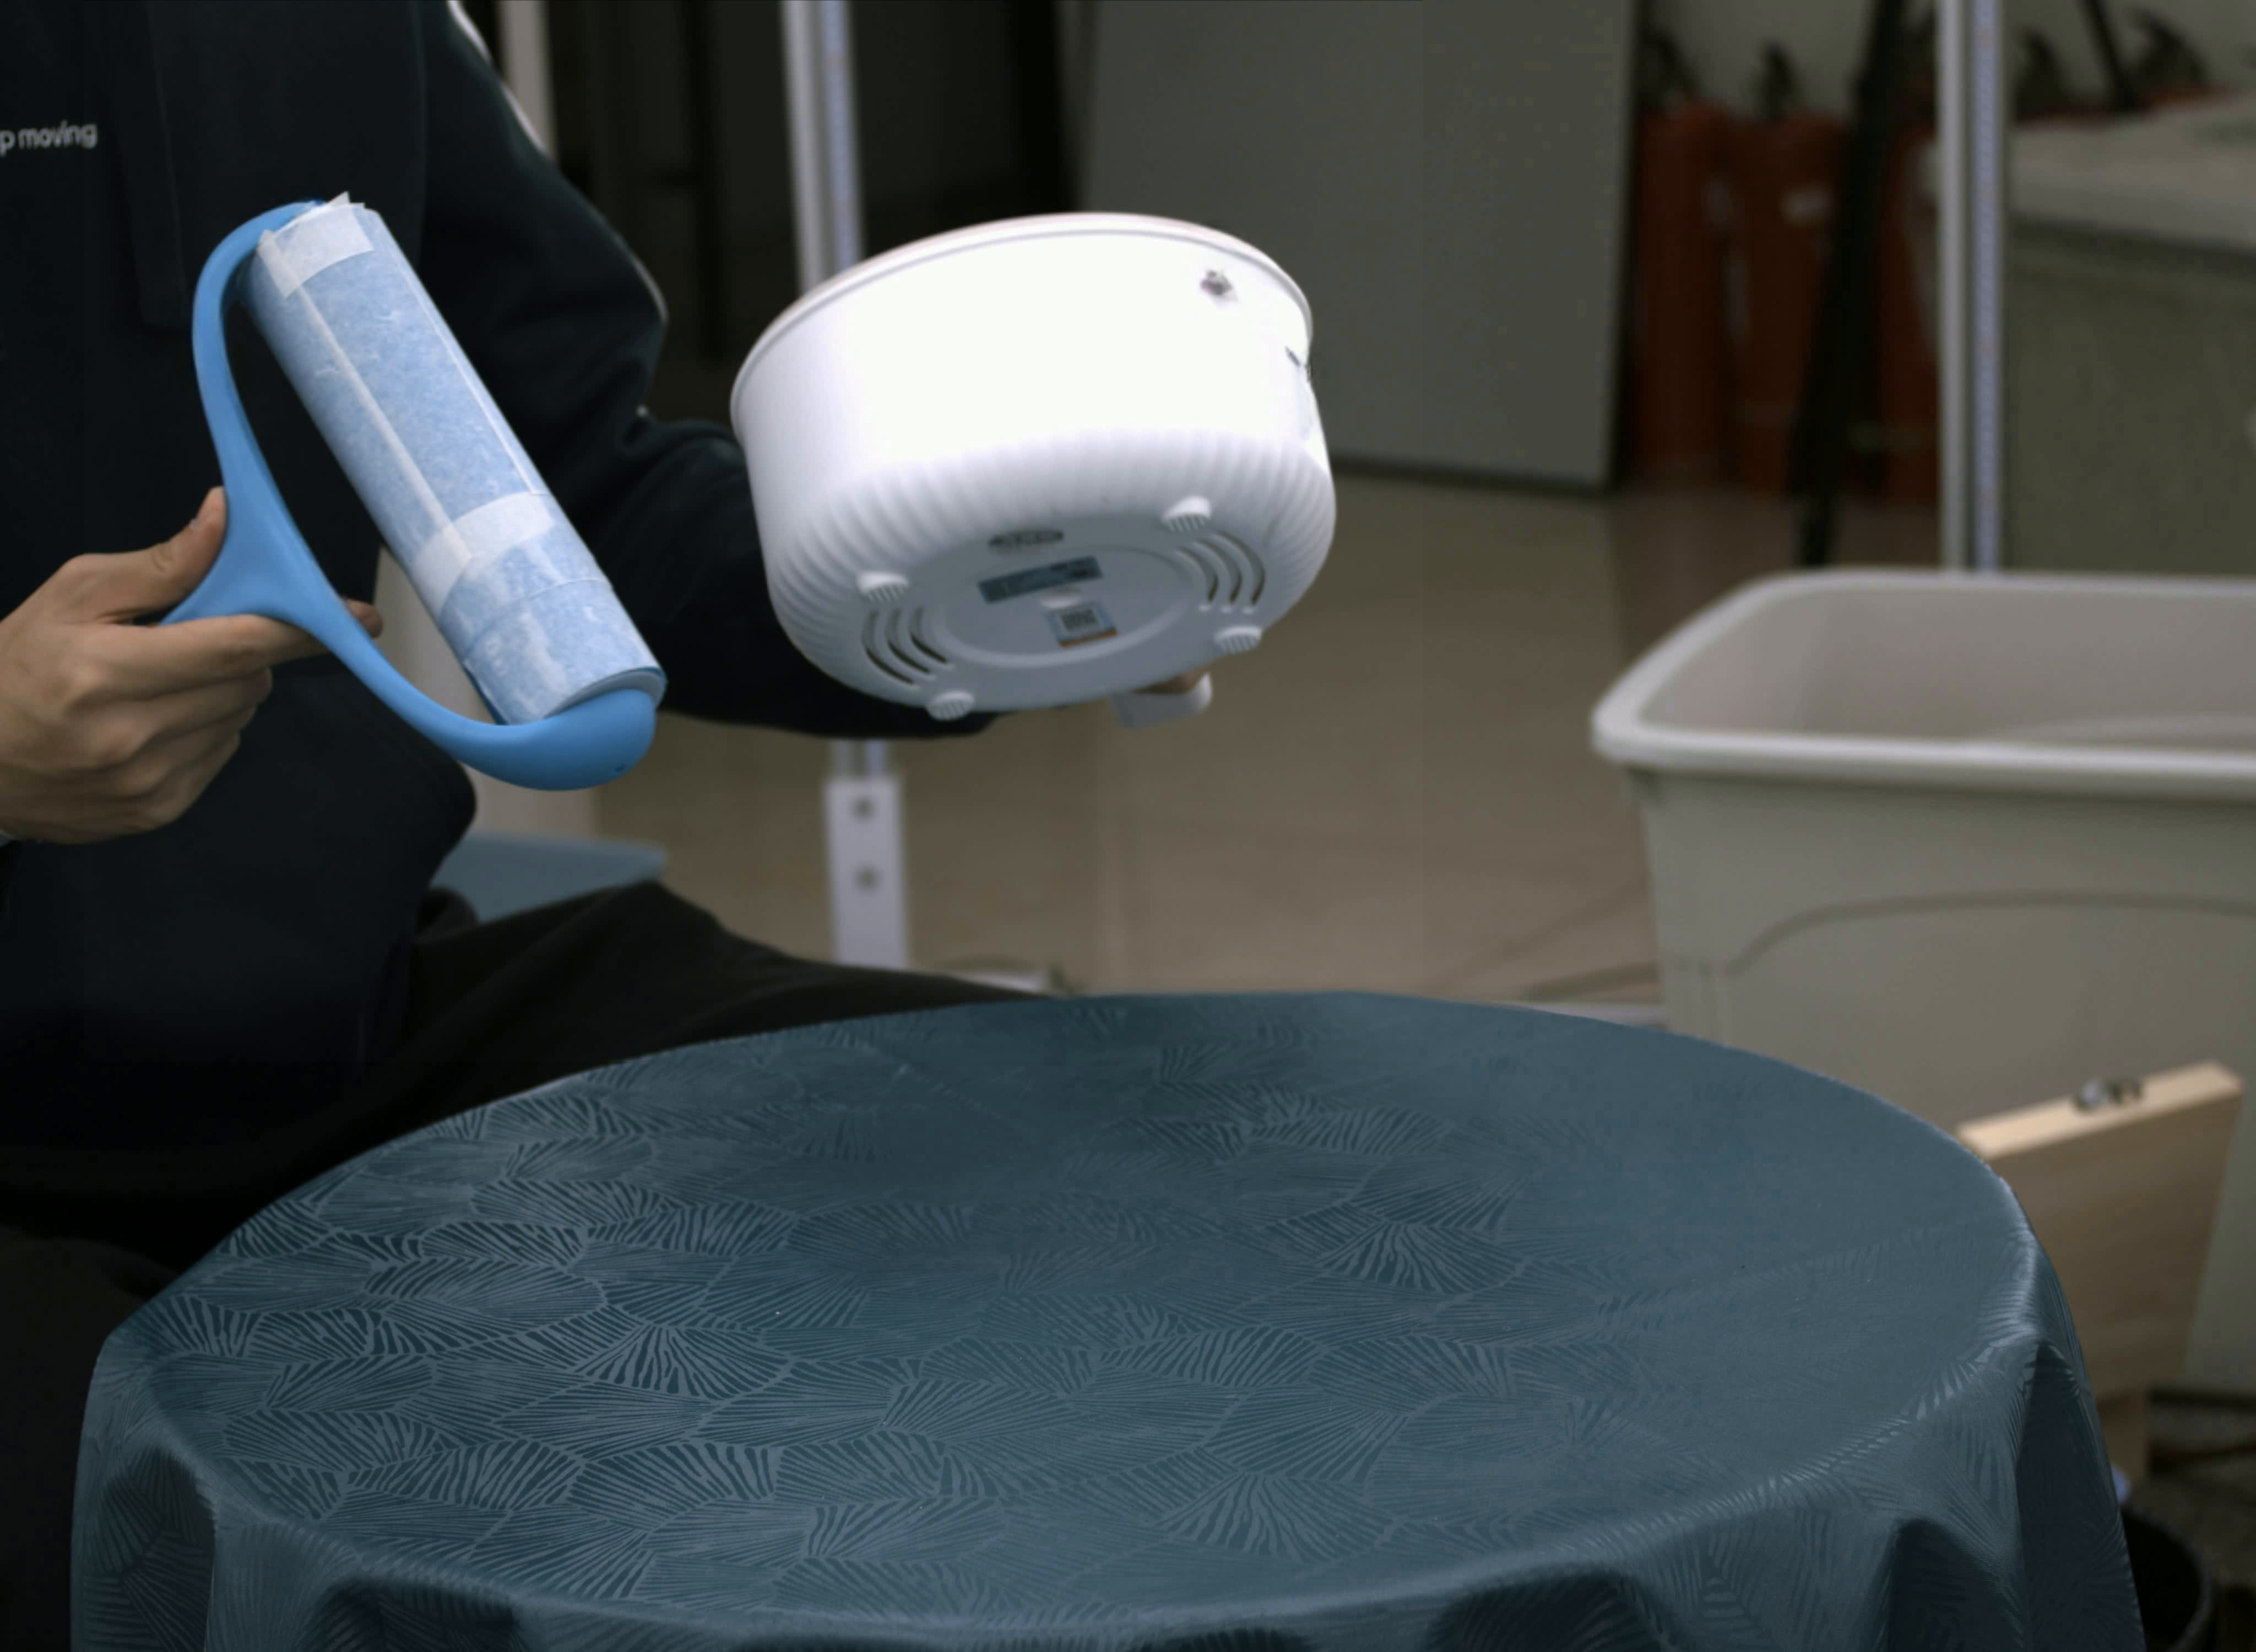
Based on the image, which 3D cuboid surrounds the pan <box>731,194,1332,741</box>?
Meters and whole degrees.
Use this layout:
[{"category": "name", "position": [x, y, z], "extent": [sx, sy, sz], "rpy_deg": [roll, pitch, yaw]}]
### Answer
[{"category": "pan", "position": [-0.014, -0.086, 1.888], "extent": [0.199, 0.103, 0.353], "rpy_deg": [-14, -26, 7]}]

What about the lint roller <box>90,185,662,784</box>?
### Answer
[{"category": "lint roller", "position": [-0.265, -0.076, 1.730], "extent": [0.180, 0.231, 0.067], "rpy_deg": [-37, -20, 3]}]
